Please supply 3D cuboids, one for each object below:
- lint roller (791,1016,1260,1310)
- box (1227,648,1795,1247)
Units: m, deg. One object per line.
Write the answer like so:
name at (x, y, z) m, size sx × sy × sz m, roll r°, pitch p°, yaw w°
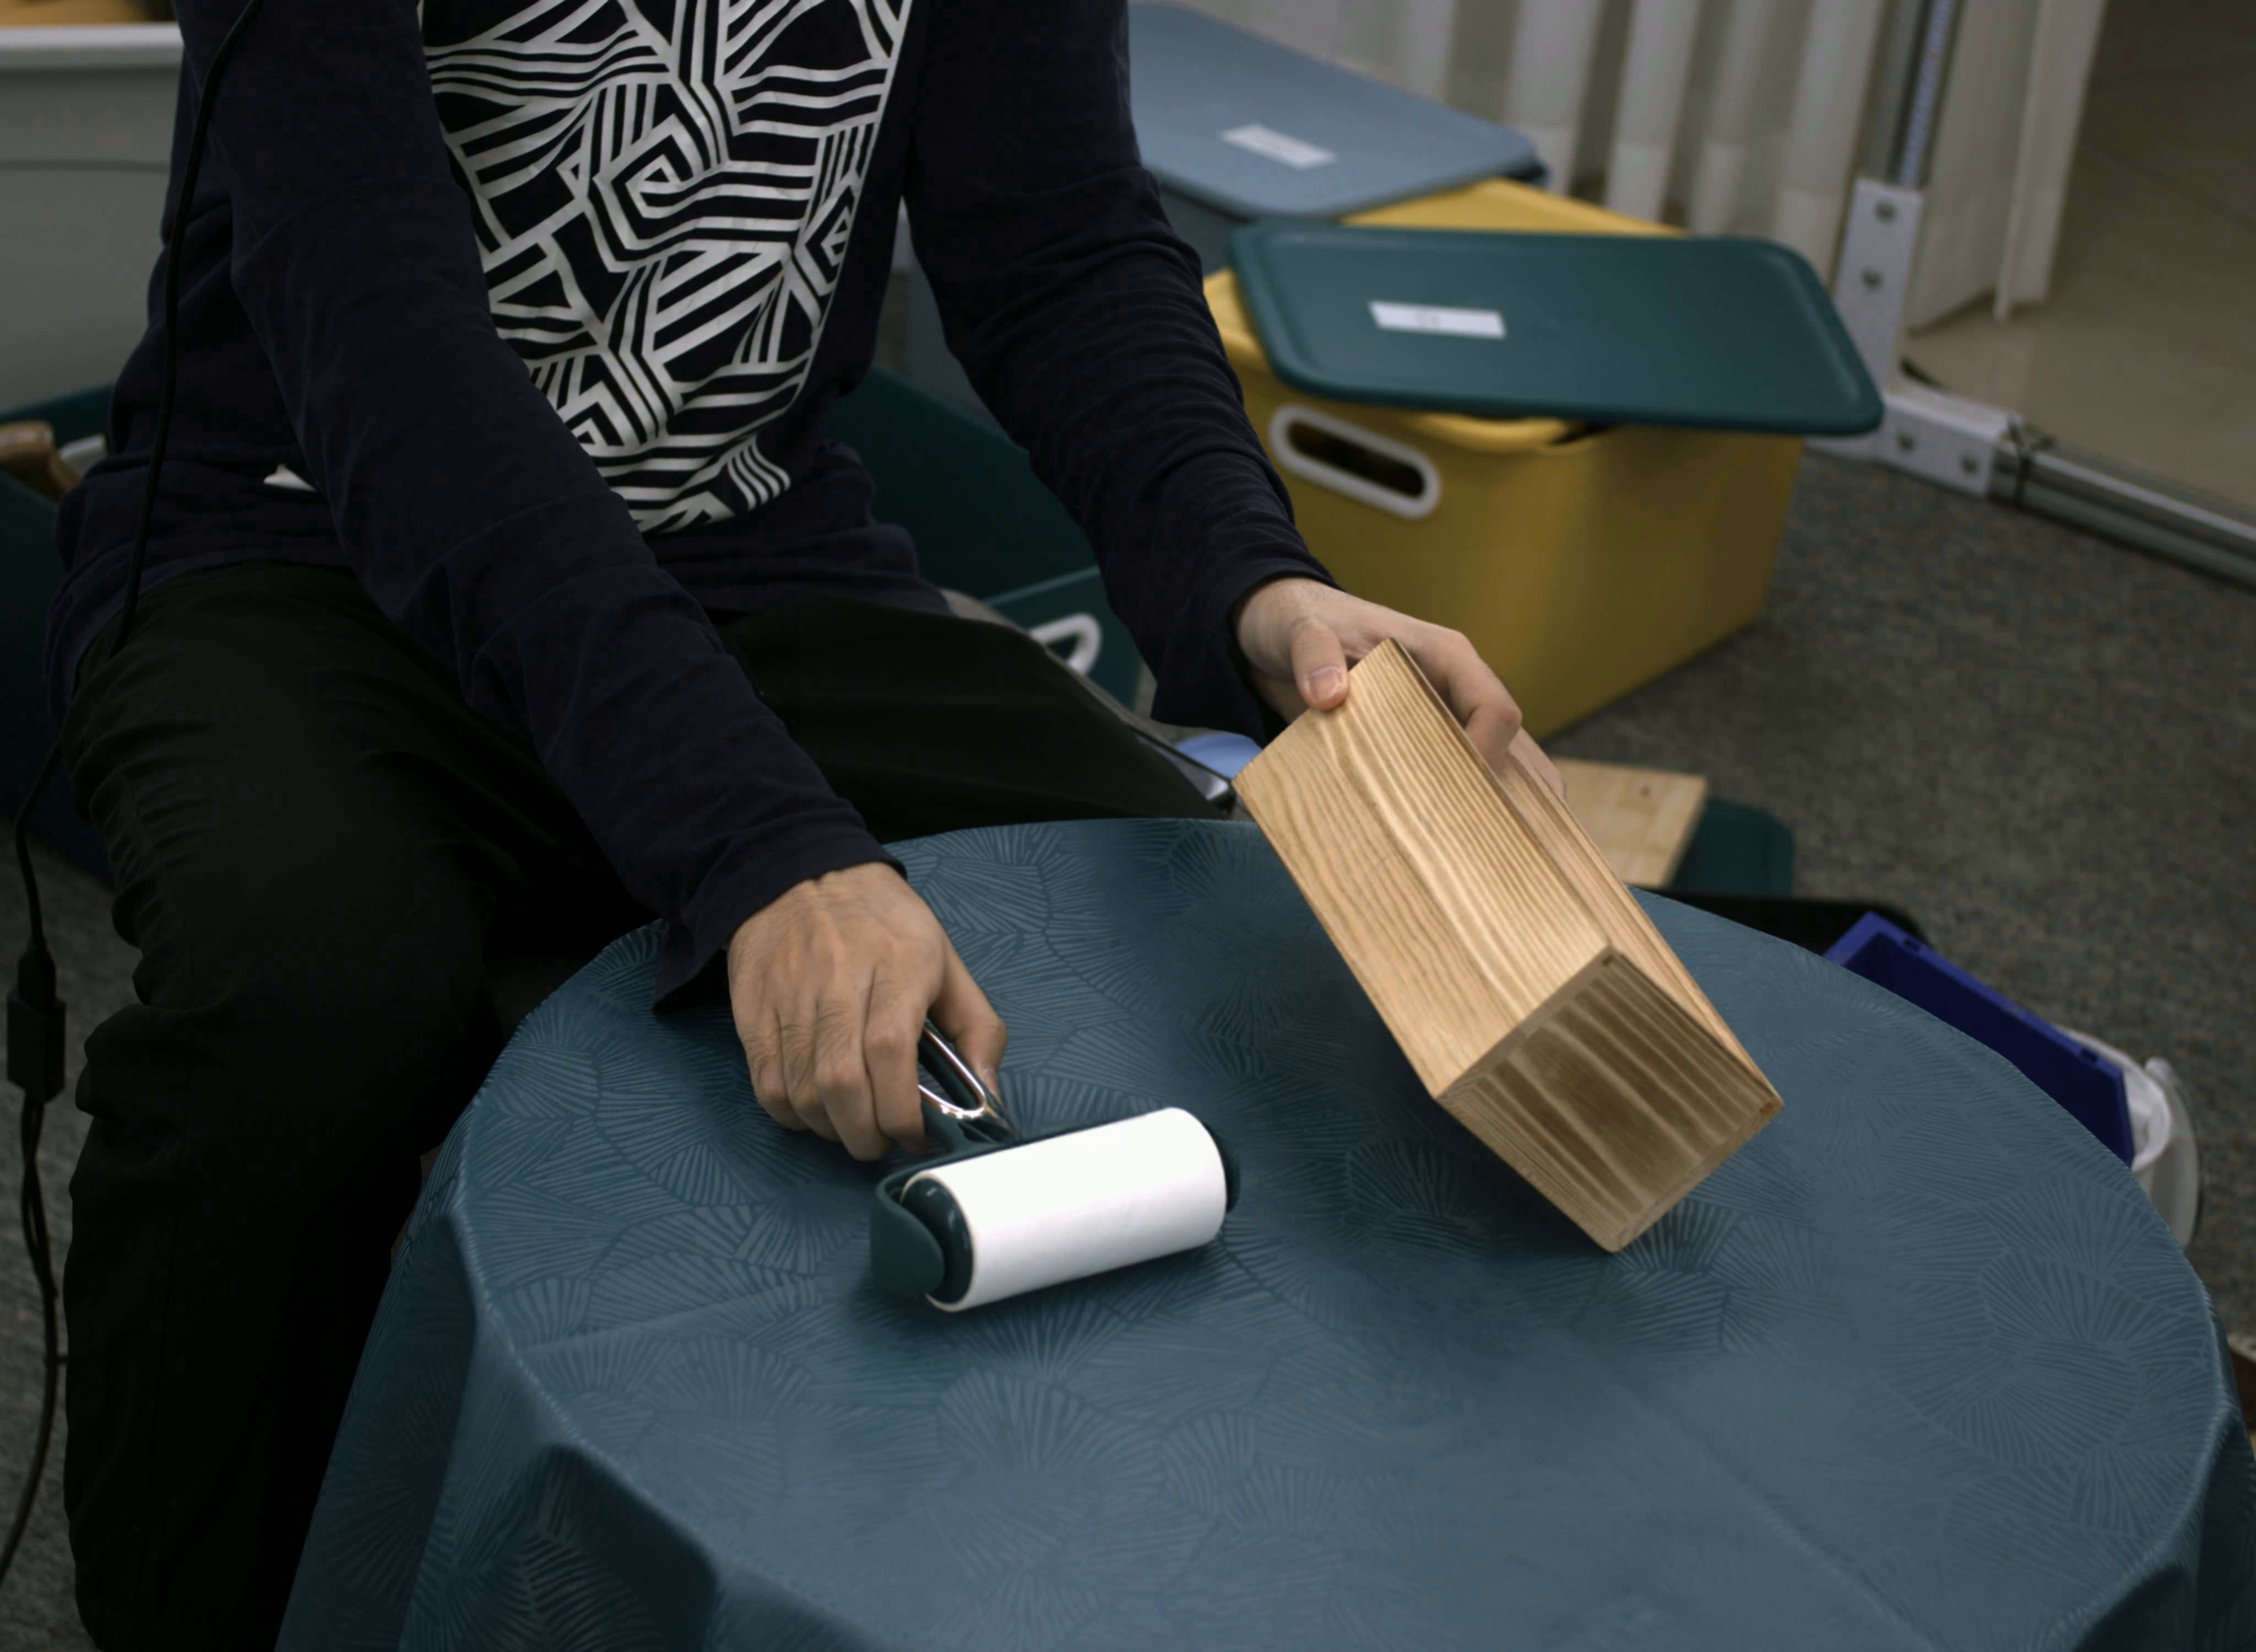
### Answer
lint roller at (-0.059, 0.093, 1.790) m, size 0.133 × 0.048 × 0.182 m, roll -13°, pitch 36°, yaw -32°
box at (0.129, 0.039, 1.849) m, size 0.106 × 0.080 × 0.213 m, roll 39°, pitch 10°, yaw -34°
